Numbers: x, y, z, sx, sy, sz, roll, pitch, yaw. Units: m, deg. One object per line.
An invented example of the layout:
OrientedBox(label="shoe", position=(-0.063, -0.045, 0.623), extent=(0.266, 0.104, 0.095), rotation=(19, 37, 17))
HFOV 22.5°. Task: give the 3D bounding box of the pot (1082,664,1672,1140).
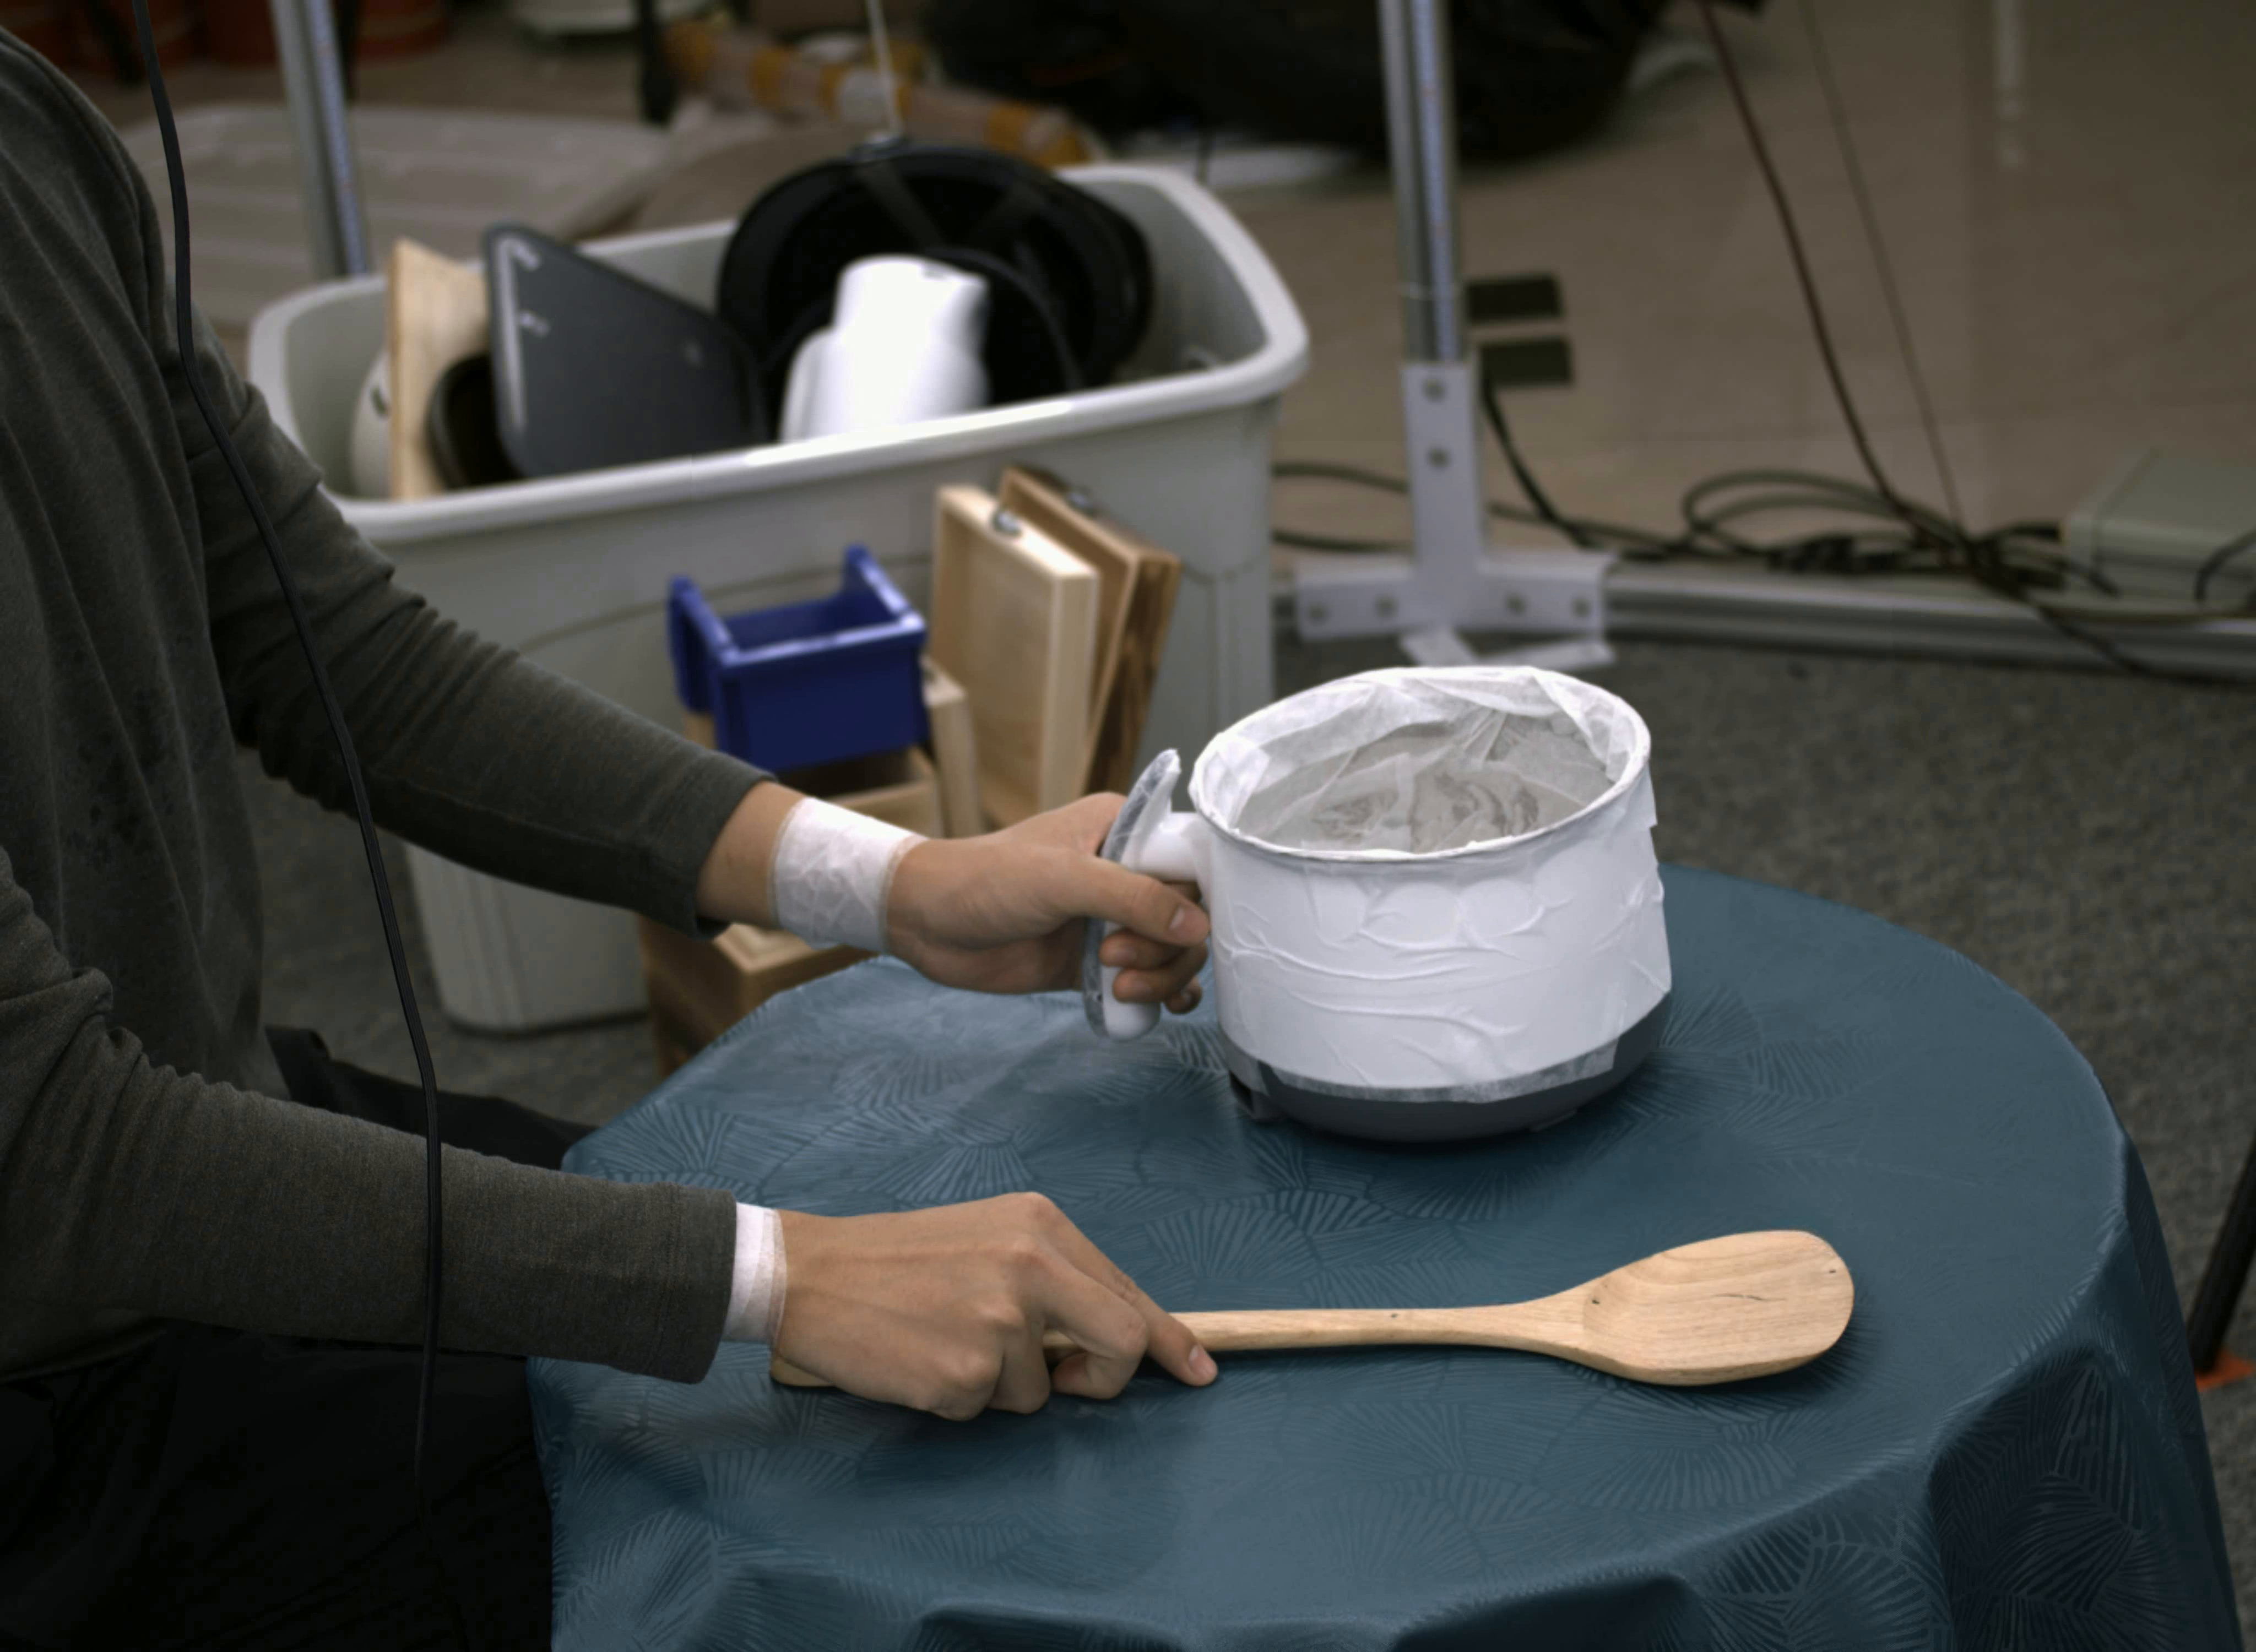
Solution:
OrientedBox(label="pot", position=(0.093, 0.031, 2.193), extent=(0.233, 0.139, 0.176), rotation=(0, 26, 13))

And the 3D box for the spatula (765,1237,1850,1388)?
OrientedBox(label="spatula", position=(0.061, 0.182, 2.023), extent=(0.390, 0.019, 0.094), rotation=(-3, 23, 7))
